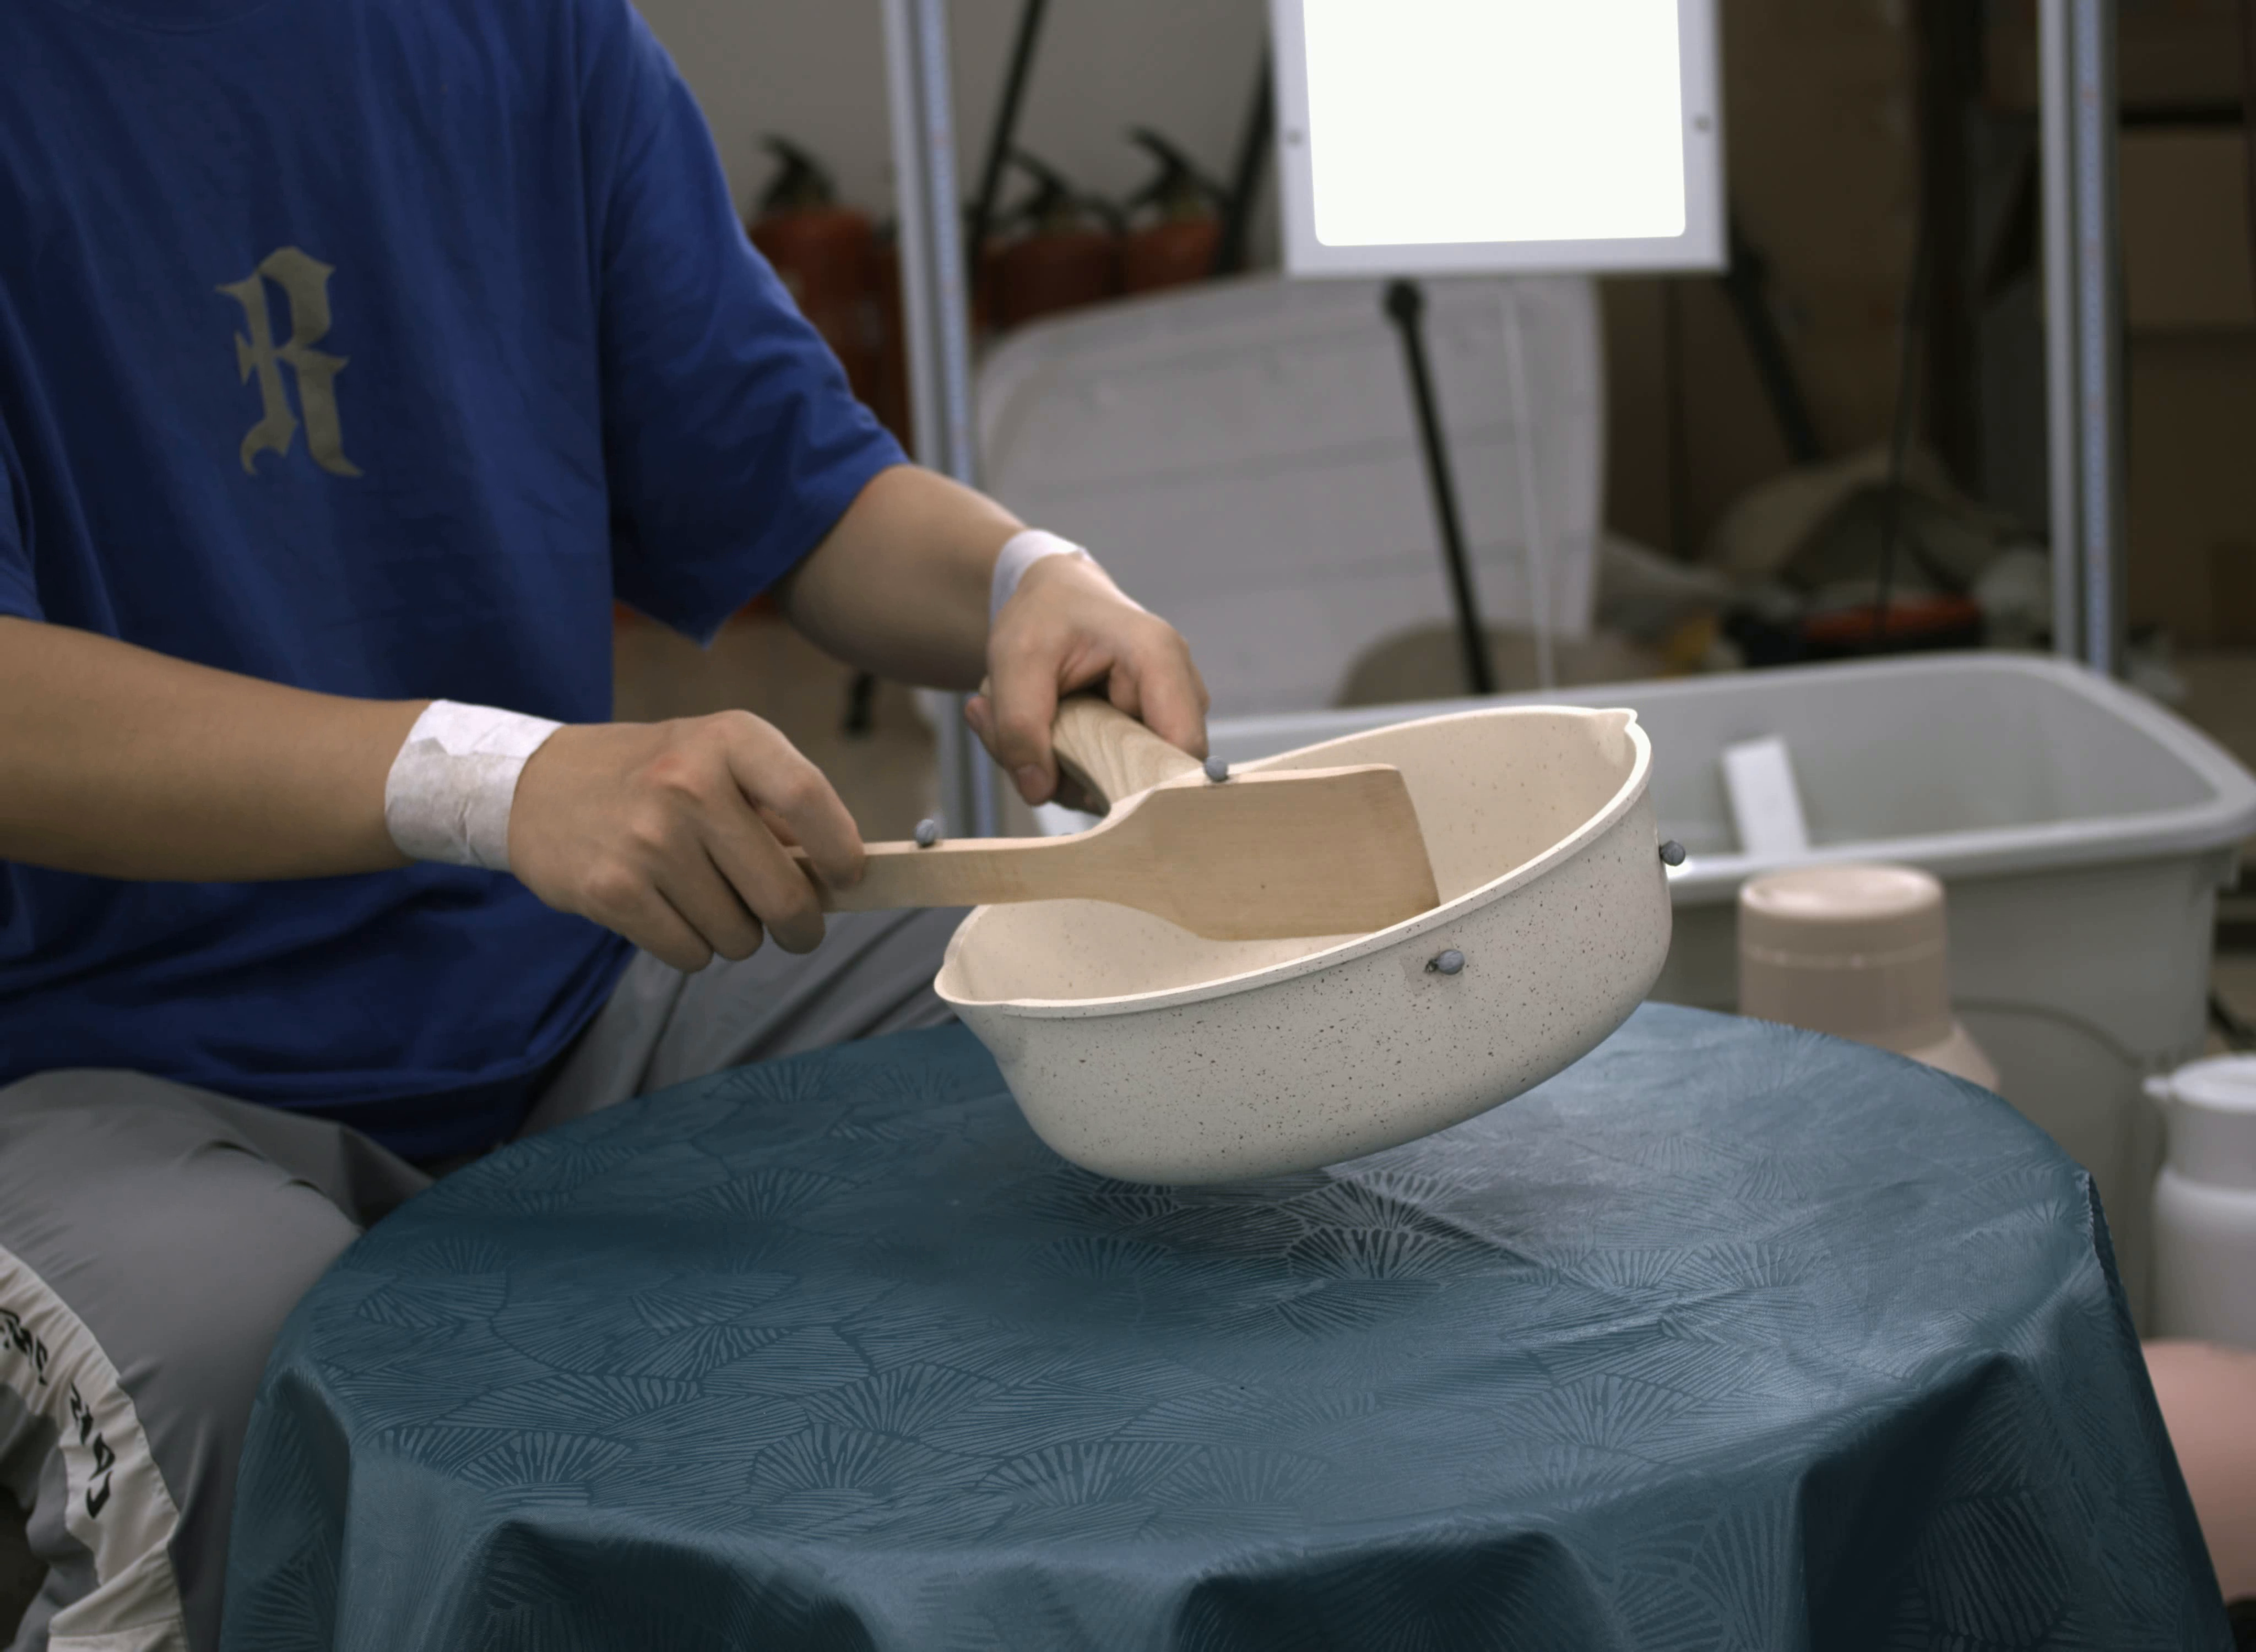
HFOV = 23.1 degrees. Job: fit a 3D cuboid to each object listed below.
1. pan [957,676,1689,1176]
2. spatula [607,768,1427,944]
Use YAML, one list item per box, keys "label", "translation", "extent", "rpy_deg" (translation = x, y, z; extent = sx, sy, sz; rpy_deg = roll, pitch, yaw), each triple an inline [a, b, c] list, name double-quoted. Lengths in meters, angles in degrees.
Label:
- label: "pan"
  translation: [0.041, 0.020, 1.953]
  extent: [0.260, 0.102, 0.440]
  rpy_deg: [-25, 16, -14]
- label: "spatula"
  translation: [-0.043, 0.014, 1.872]
  extent: [0.297, 0.072, 0.010]
  rpy_deg: [-2, 40, 22]
